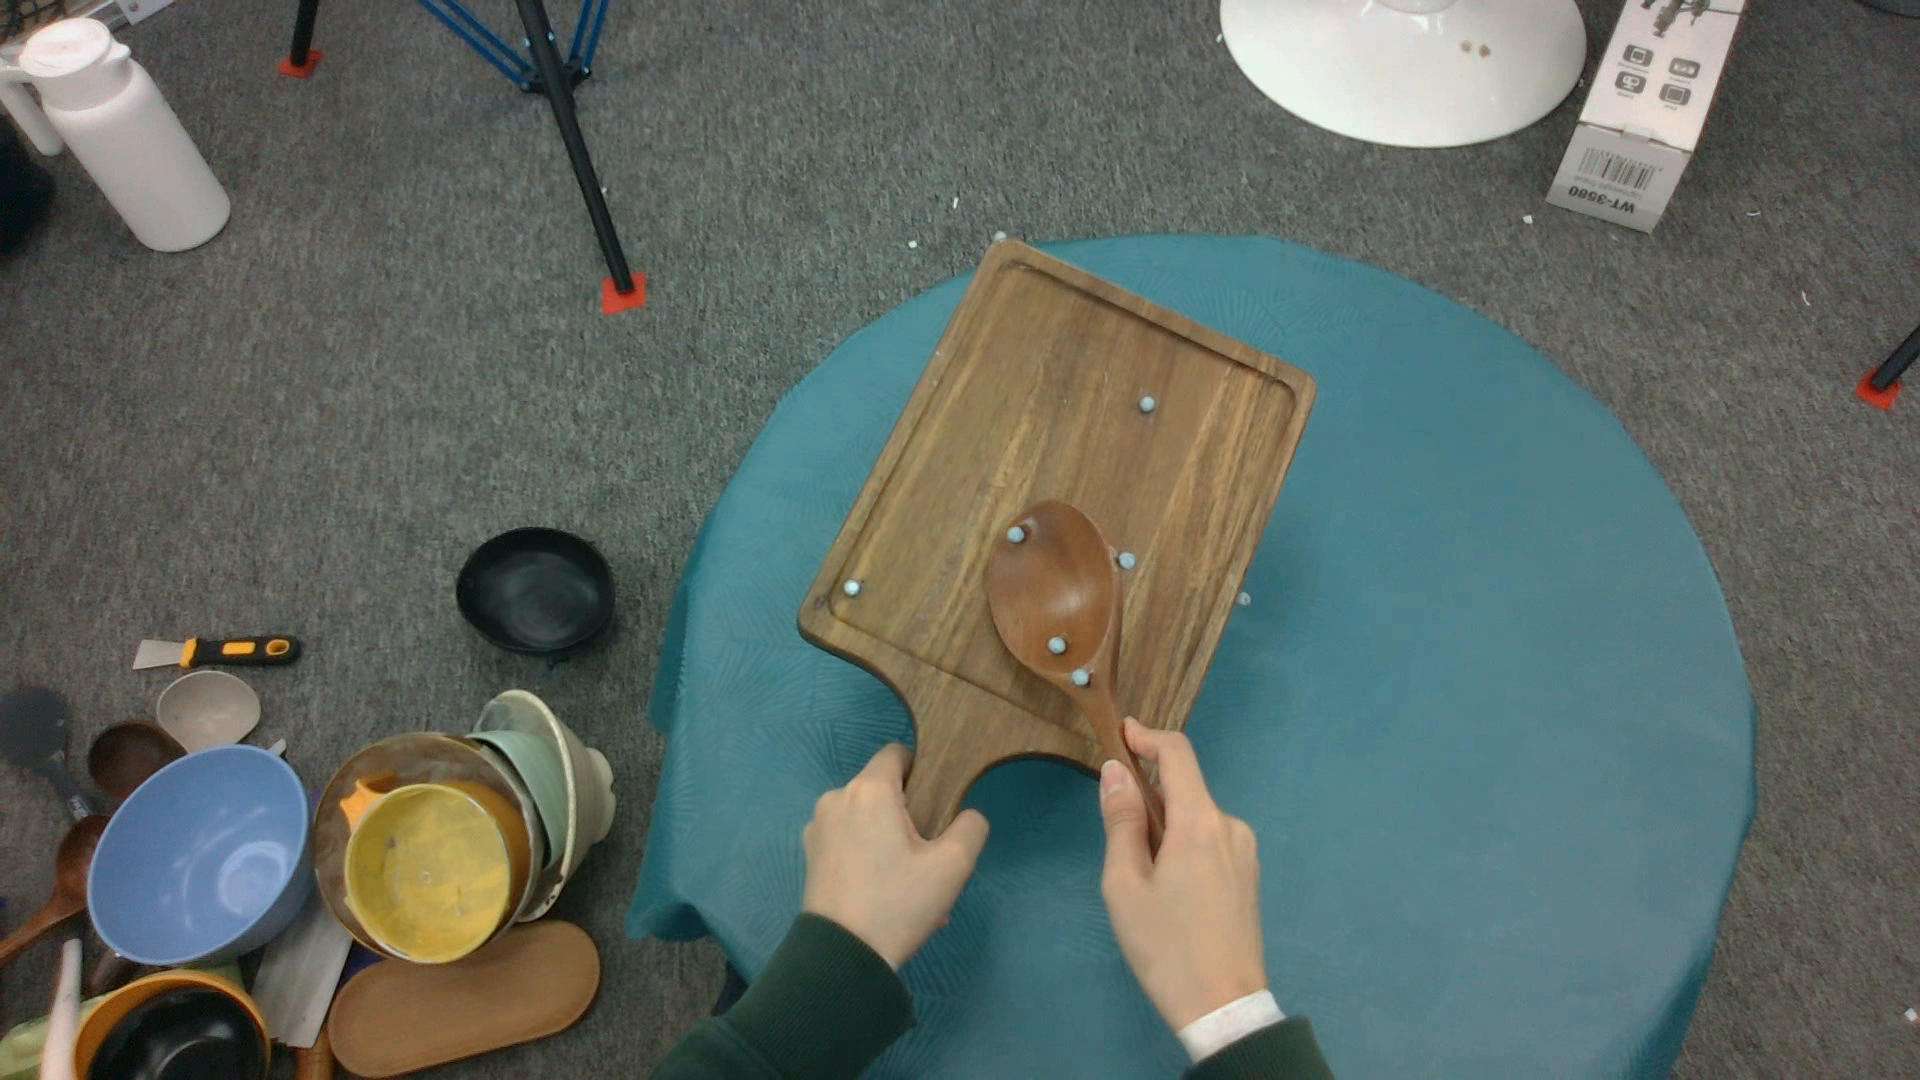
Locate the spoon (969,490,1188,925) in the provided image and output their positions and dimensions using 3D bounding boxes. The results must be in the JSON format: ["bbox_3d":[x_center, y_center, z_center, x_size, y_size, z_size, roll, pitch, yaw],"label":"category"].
[{"bbox_3d":[0.058,0.071,0.633,0.075,0.017,0.216,-32,58,22],"label":"spoon"}]

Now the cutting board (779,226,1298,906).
[{"bbox_3d":[0.027,0.016,0.697,0.201,0.023,0.353,25,70,1],"label":"cutting board"}]
